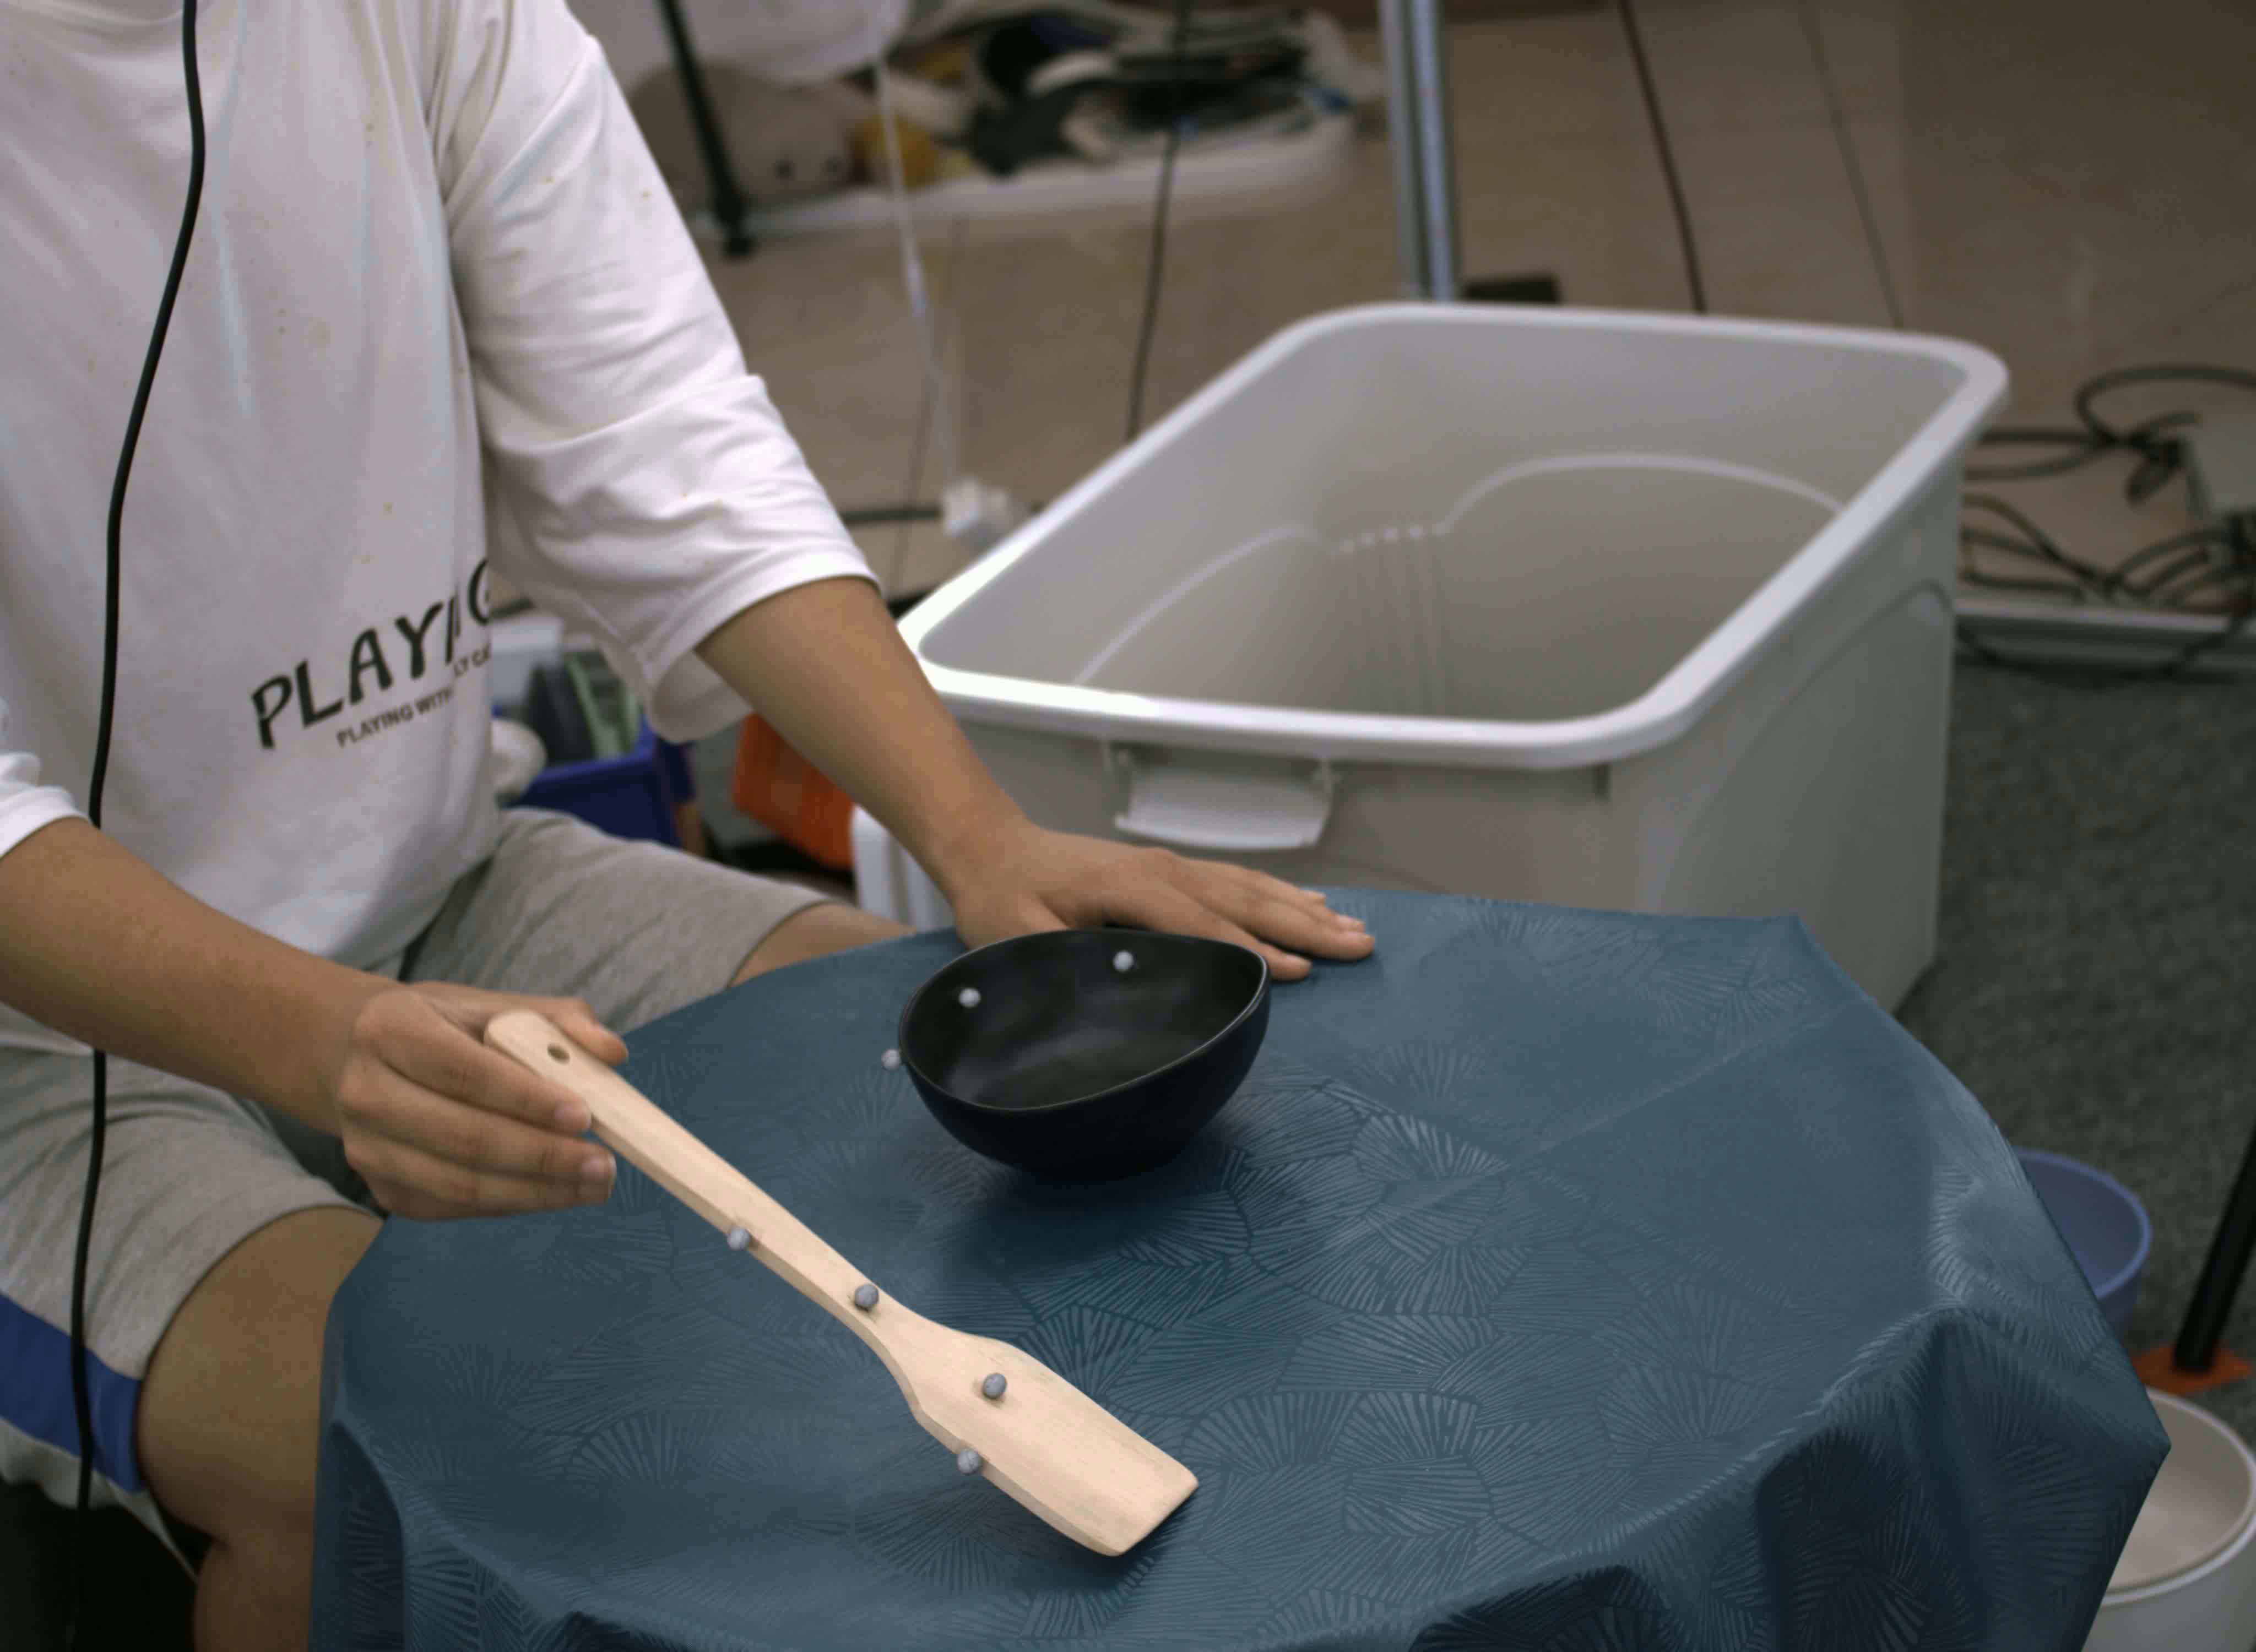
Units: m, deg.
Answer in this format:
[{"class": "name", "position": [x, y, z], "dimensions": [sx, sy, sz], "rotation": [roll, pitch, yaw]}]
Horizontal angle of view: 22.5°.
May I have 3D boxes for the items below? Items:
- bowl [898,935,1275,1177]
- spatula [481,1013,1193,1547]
[{"class": "bowl", "position": [-0.013, 0.092, 2.174], "dimensions": [0.137, 0.068, 0.168], "rotation": [6, 26, 26]}, {"class": "spatula", "position": [-0.107, 0.152, 1.952], "dimensions": [0.291, 0.011, 0.071], "rotation": [36, 28, 11]}]
